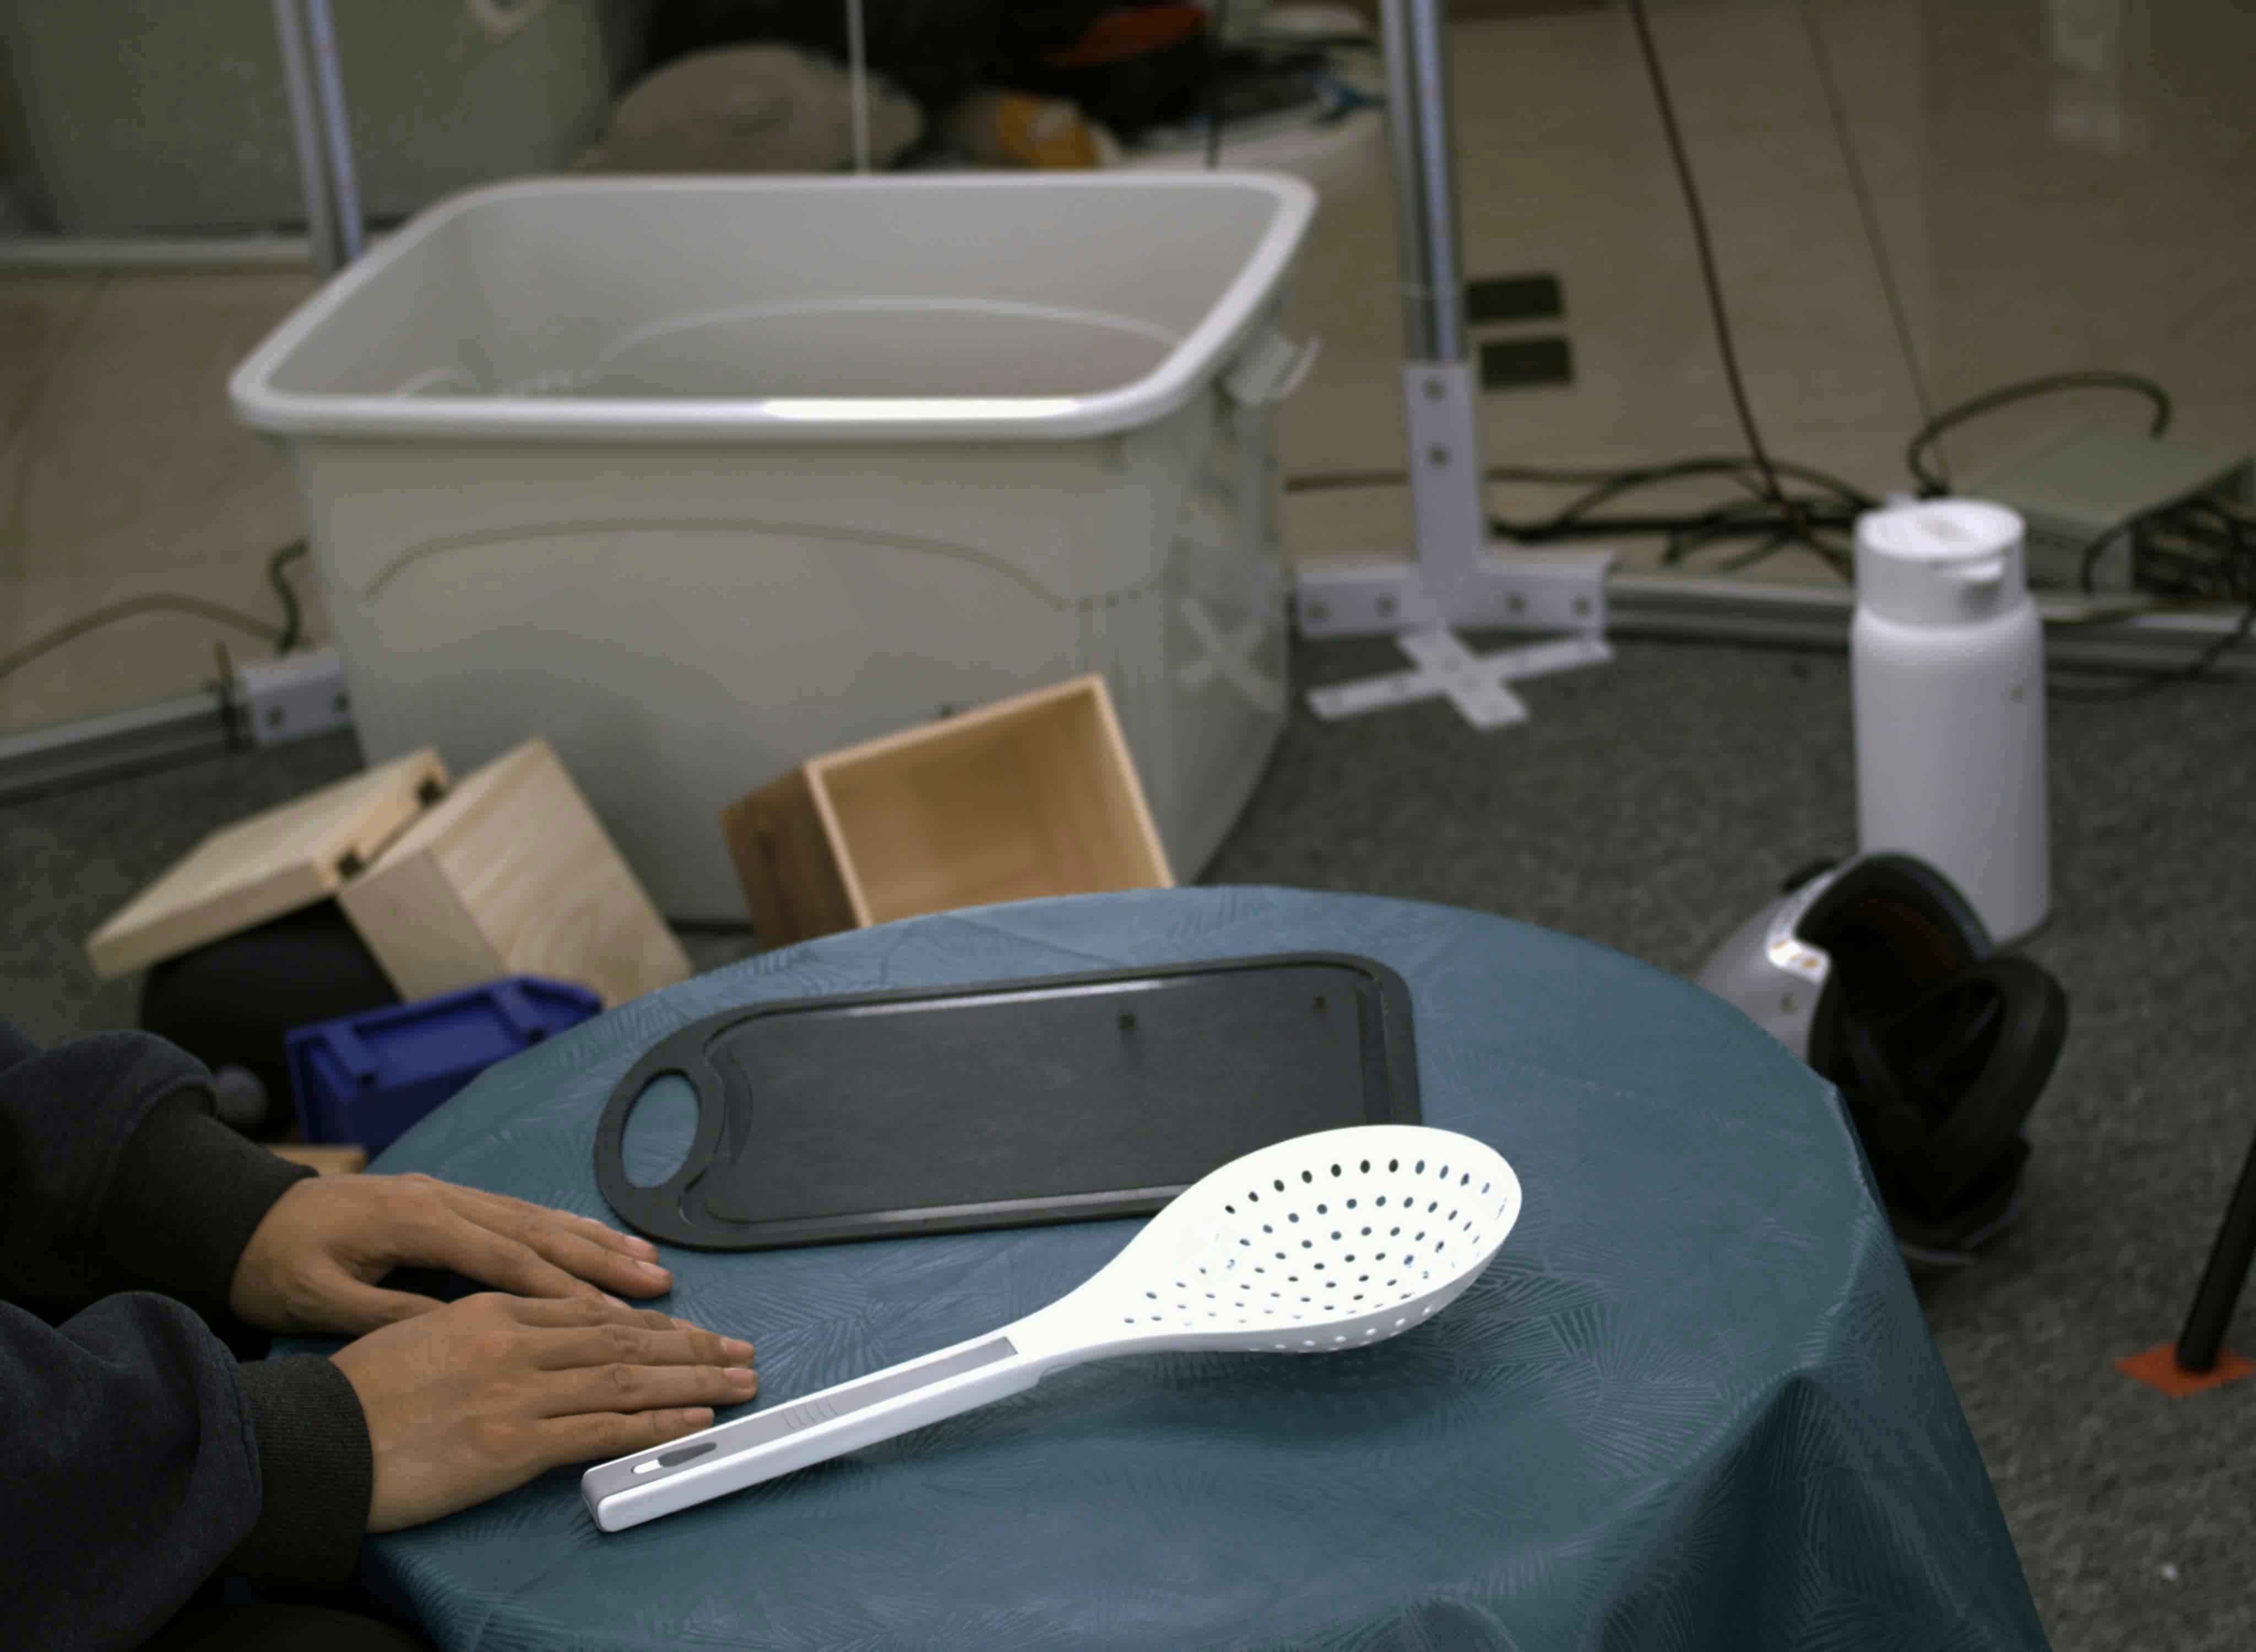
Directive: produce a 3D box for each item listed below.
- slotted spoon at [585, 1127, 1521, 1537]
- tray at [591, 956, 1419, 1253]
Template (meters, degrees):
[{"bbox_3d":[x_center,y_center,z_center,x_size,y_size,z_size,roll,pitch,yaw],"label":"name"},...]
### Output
[{"bbox_3d":[-0.024,0.182,2.005,0.348,0.046,0.134,-15,24,-15],"label":"slotted spoon"},{"bbox_3d":[-0.049,0.107,2.221,0.325,0.010,0.208,-5,25,3],"label":"tray"}]
